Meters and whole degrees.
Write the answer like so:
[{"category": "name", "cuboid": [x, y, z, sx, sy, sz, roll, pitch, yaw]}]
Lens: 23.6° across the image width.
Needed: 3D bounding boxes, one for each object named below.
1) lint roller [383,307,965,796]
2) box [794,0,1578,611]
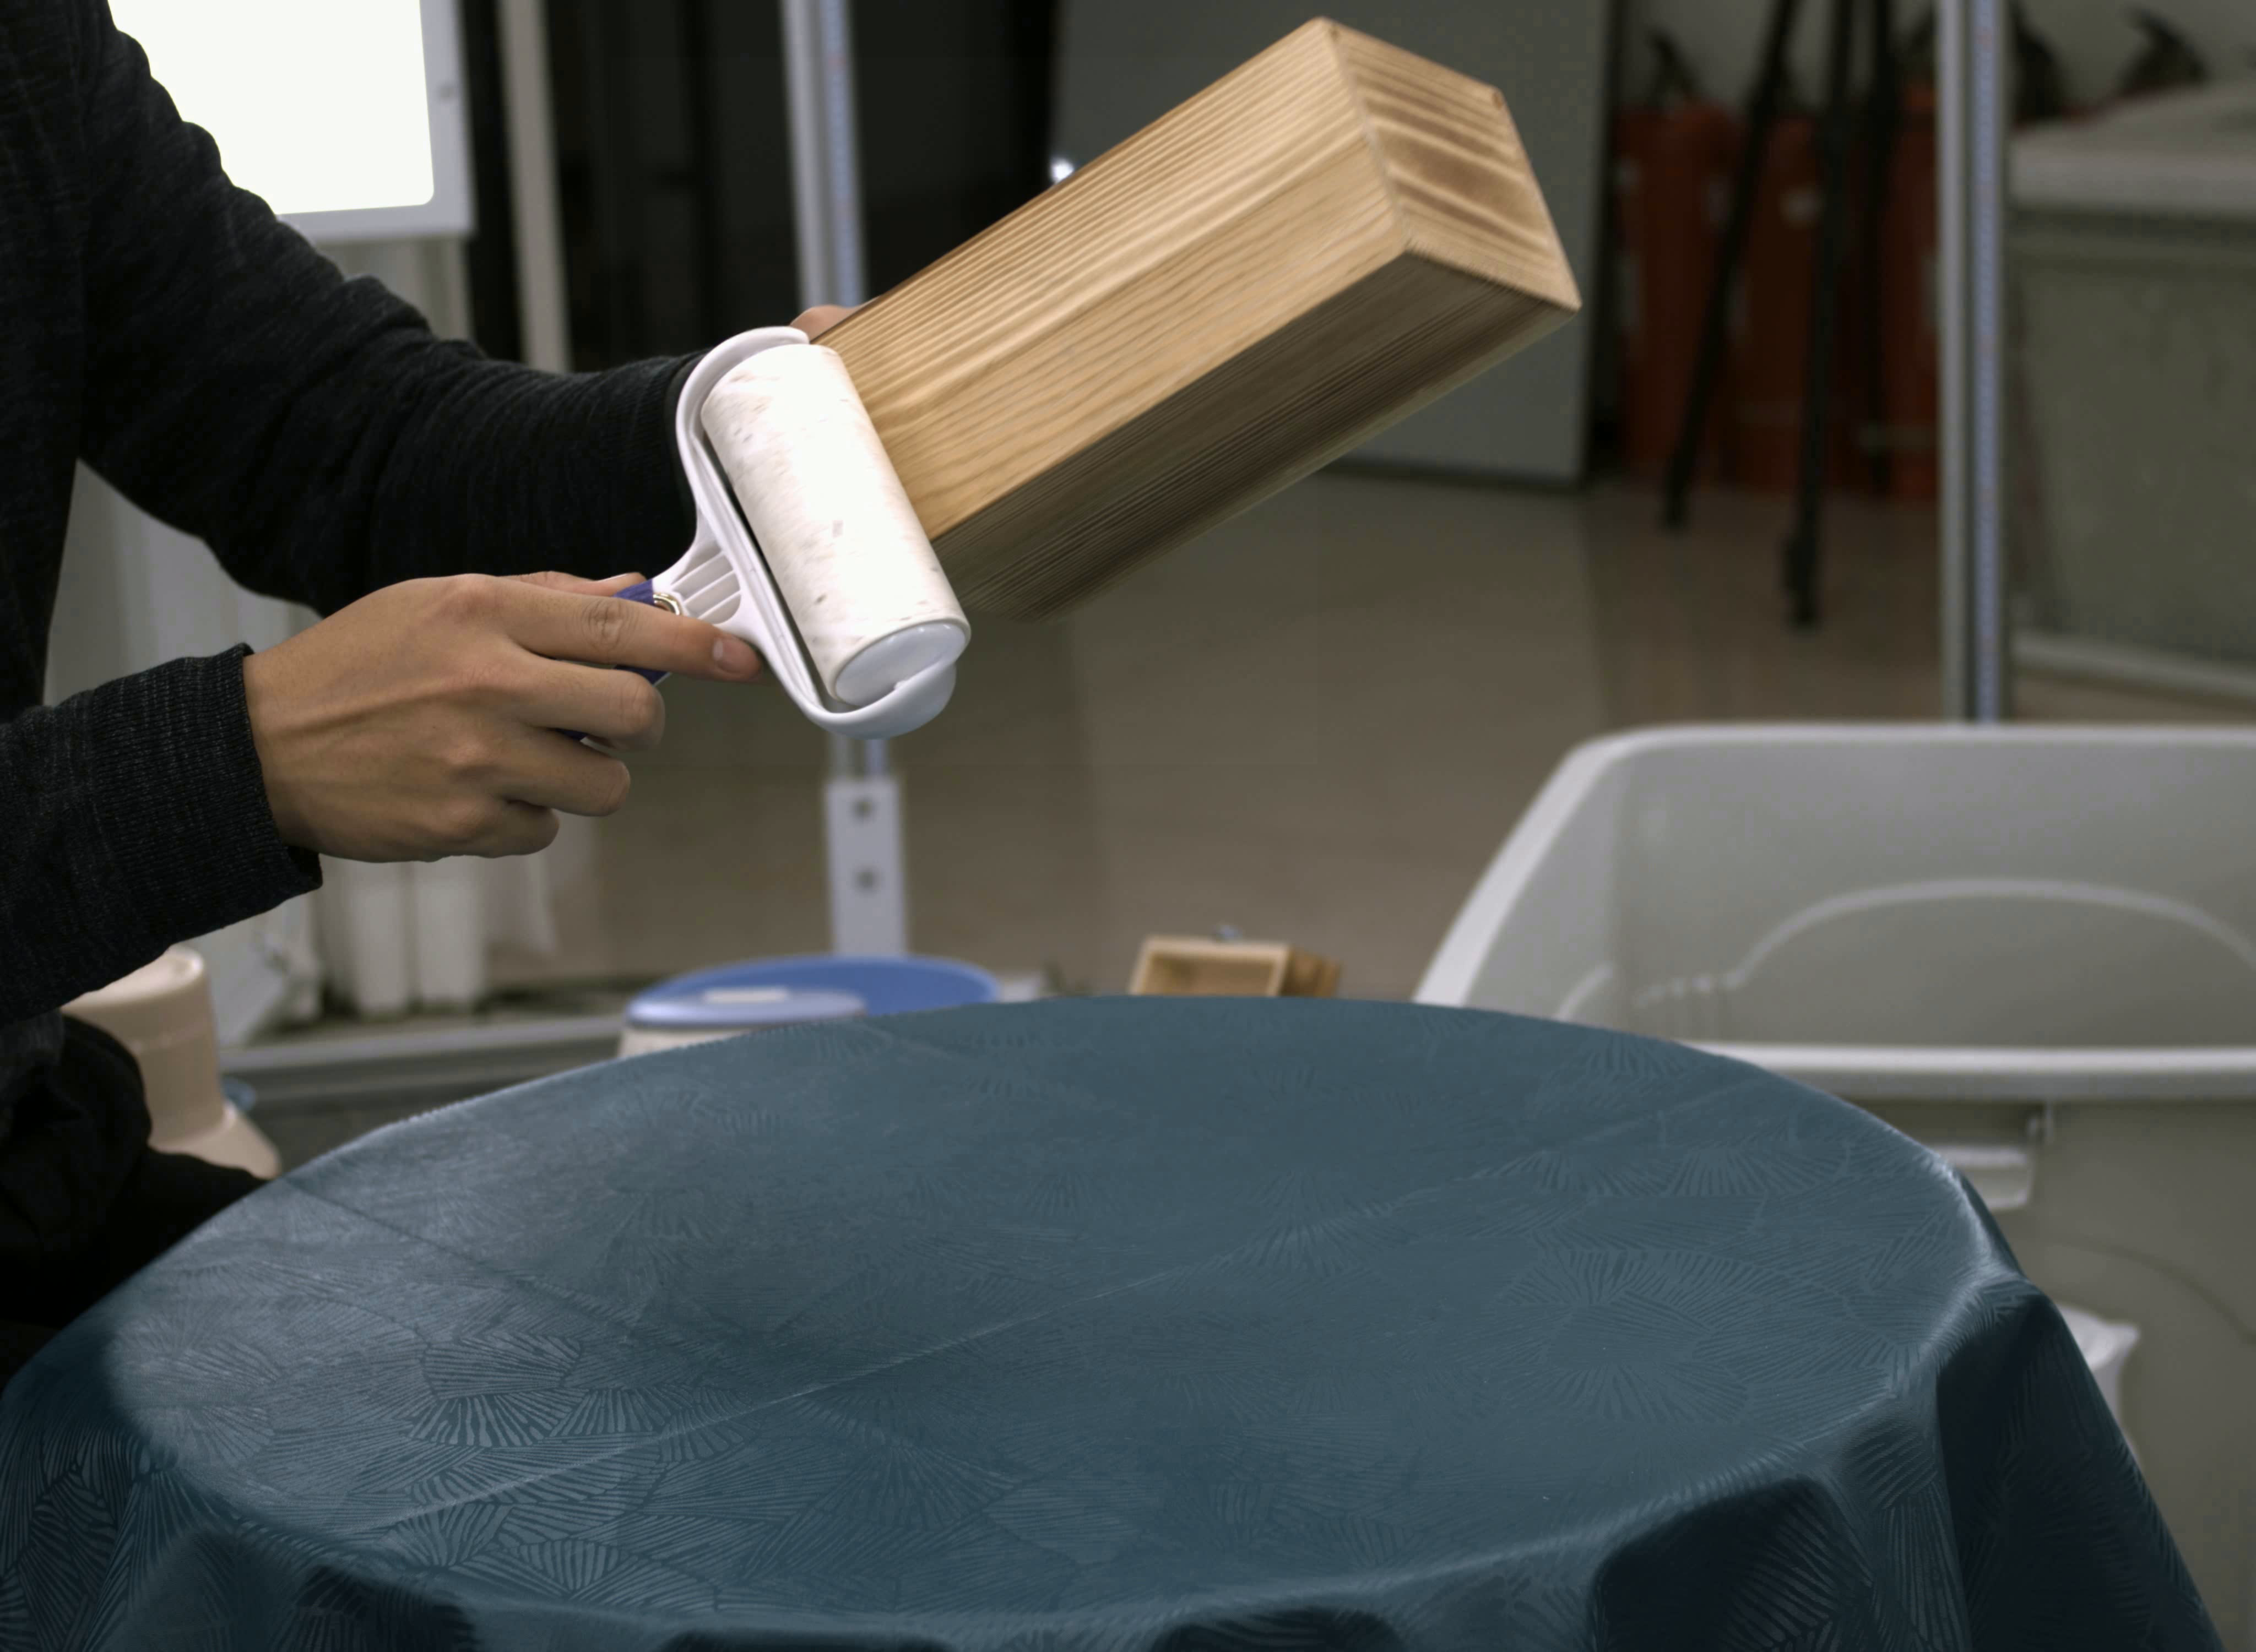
[{"category": "lint roller", "cuboid": [-0.147, -0.065, 1.600, 0.179, 0.134, 0.050, -26, -21, 3]}, {"category": "box", "cuboid": [0.015, -0.156, 1.620, 0.212, 0.081, 0.105, -32, -22, 27]}]
